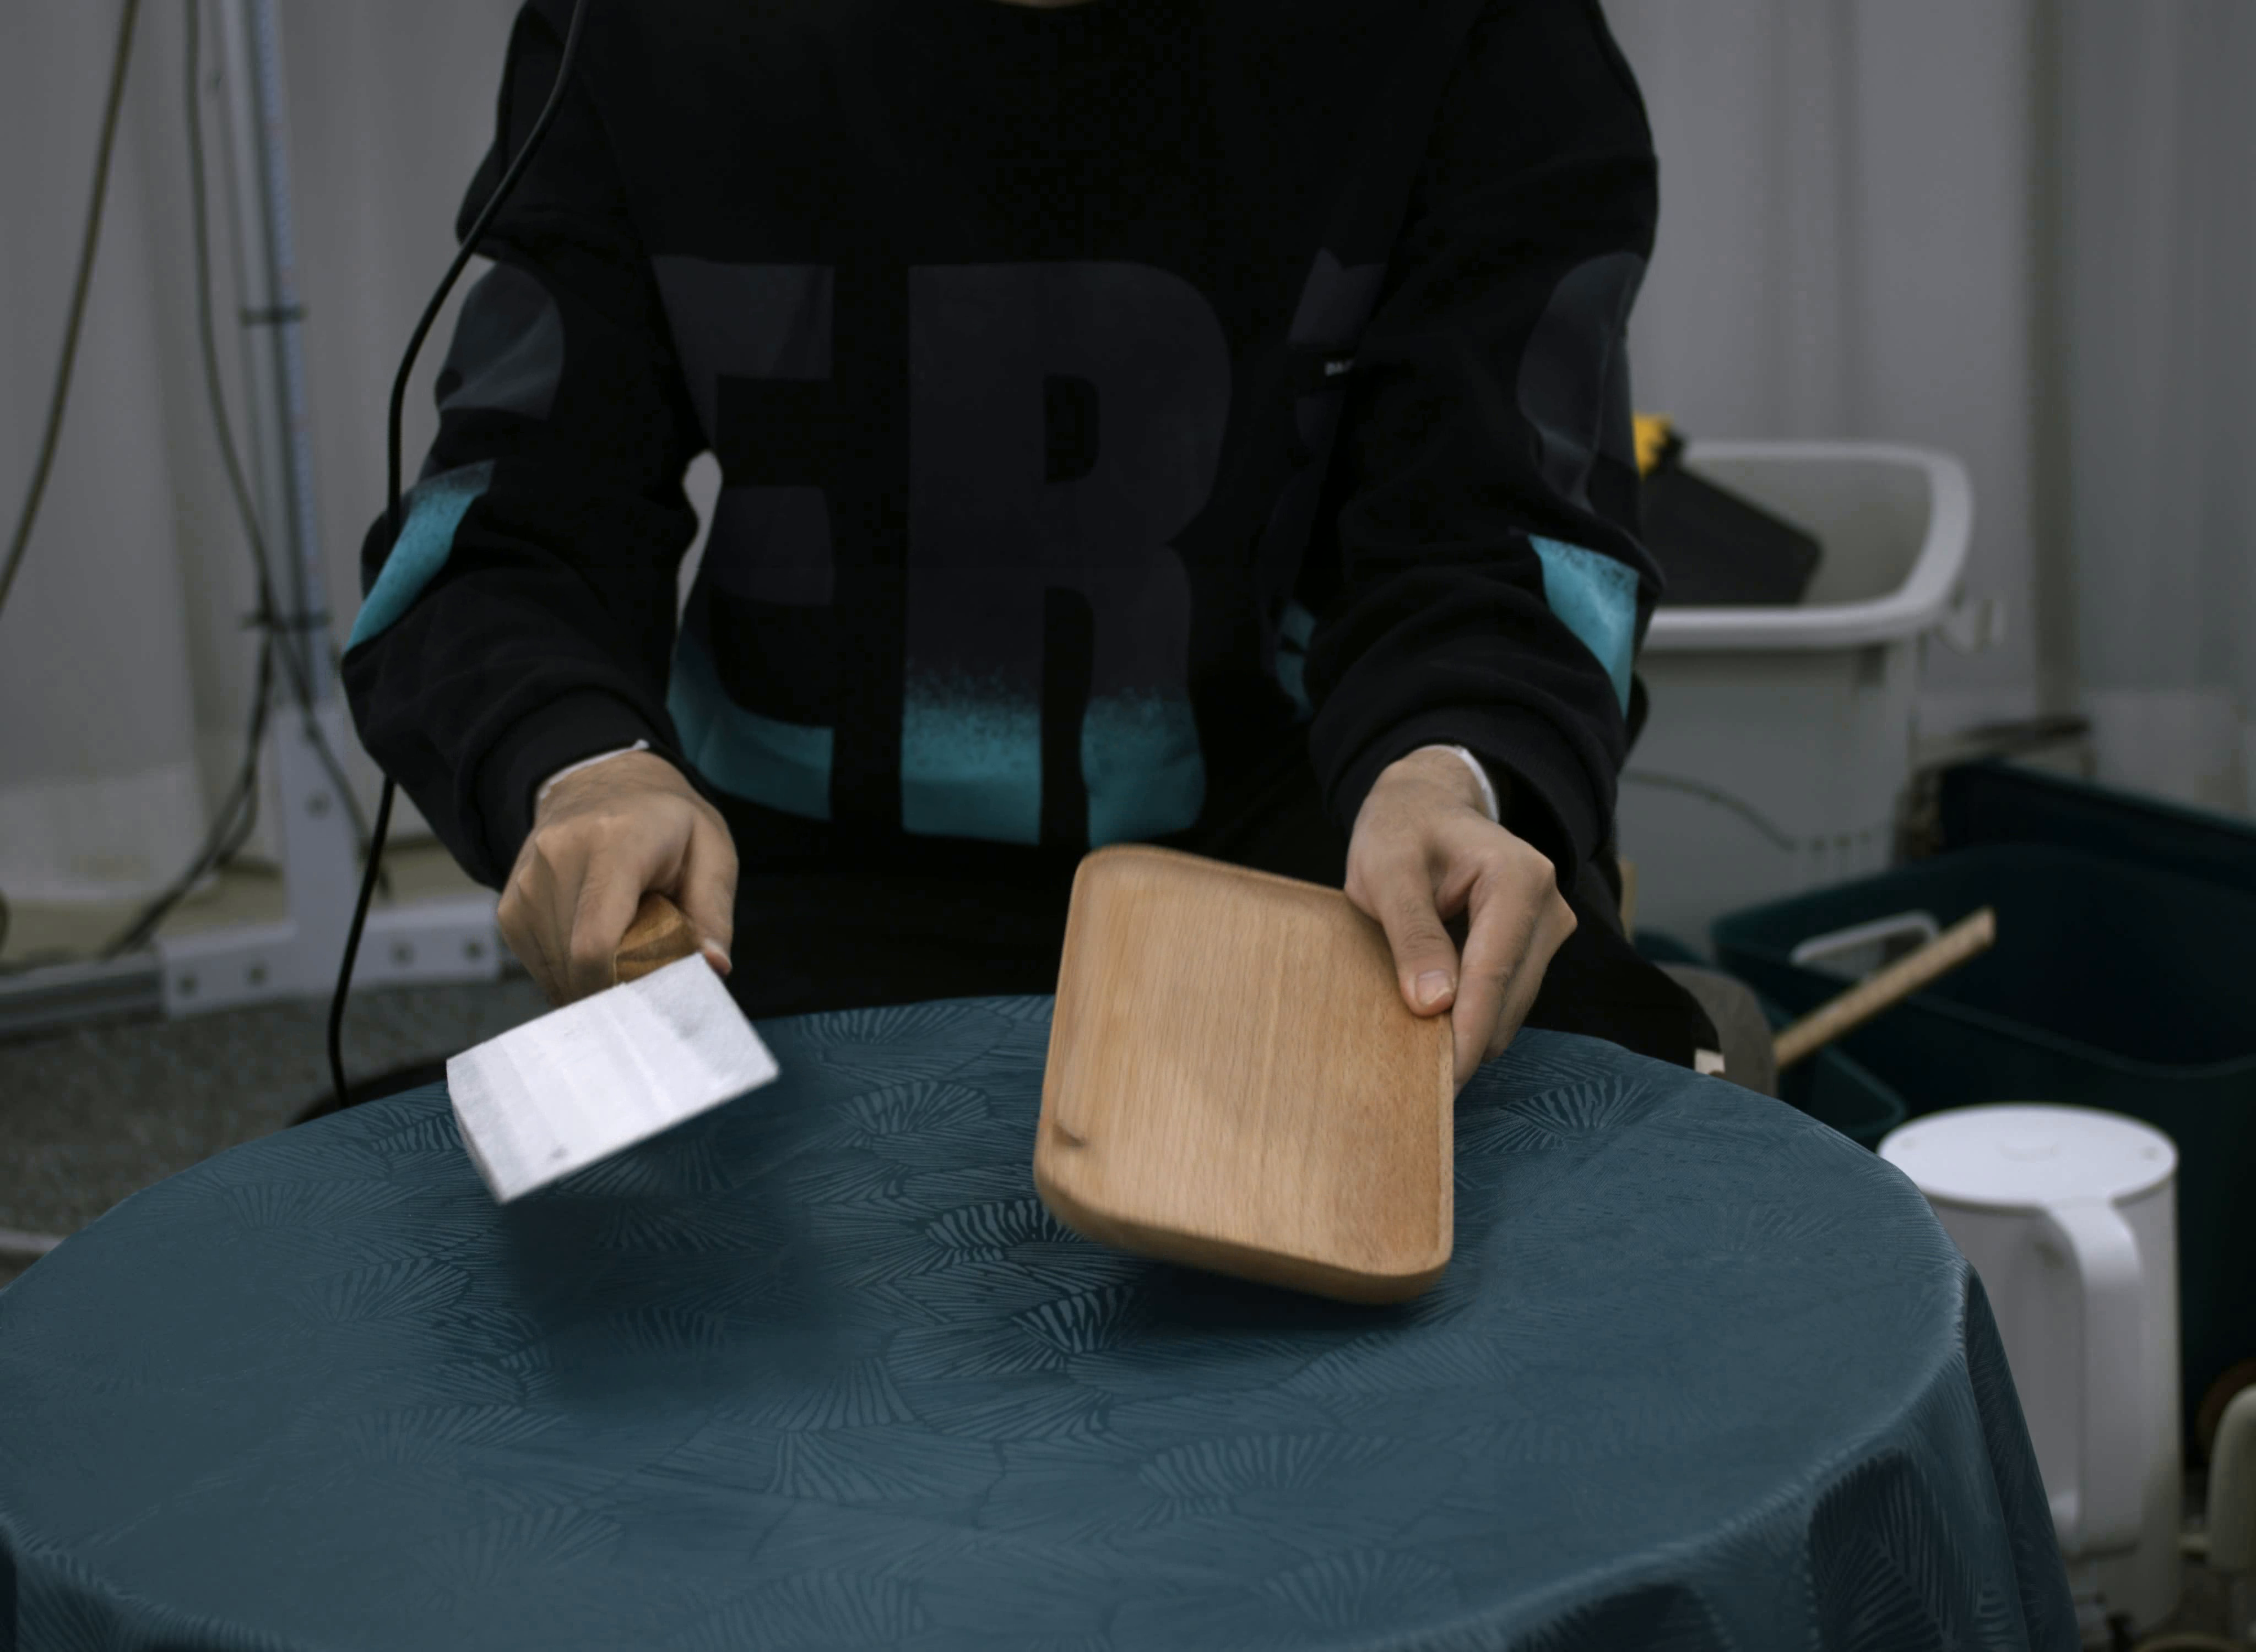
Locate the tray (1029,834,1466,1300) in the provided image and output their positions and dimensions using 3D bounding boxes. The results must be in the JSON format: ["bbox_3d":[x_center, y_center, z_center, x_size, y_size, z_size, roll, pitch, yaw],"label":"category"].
[{"bbox_3d":[0.039,0.071,1.689,0.130,0.023,0.253,18,23,-2],"label":"tray"}]

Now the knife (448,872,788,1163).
[{"bbox_3d":[-0.170,0.061,1.725,0.093,0.021,0.307,-25,13,-8],"label":"knife"}]
